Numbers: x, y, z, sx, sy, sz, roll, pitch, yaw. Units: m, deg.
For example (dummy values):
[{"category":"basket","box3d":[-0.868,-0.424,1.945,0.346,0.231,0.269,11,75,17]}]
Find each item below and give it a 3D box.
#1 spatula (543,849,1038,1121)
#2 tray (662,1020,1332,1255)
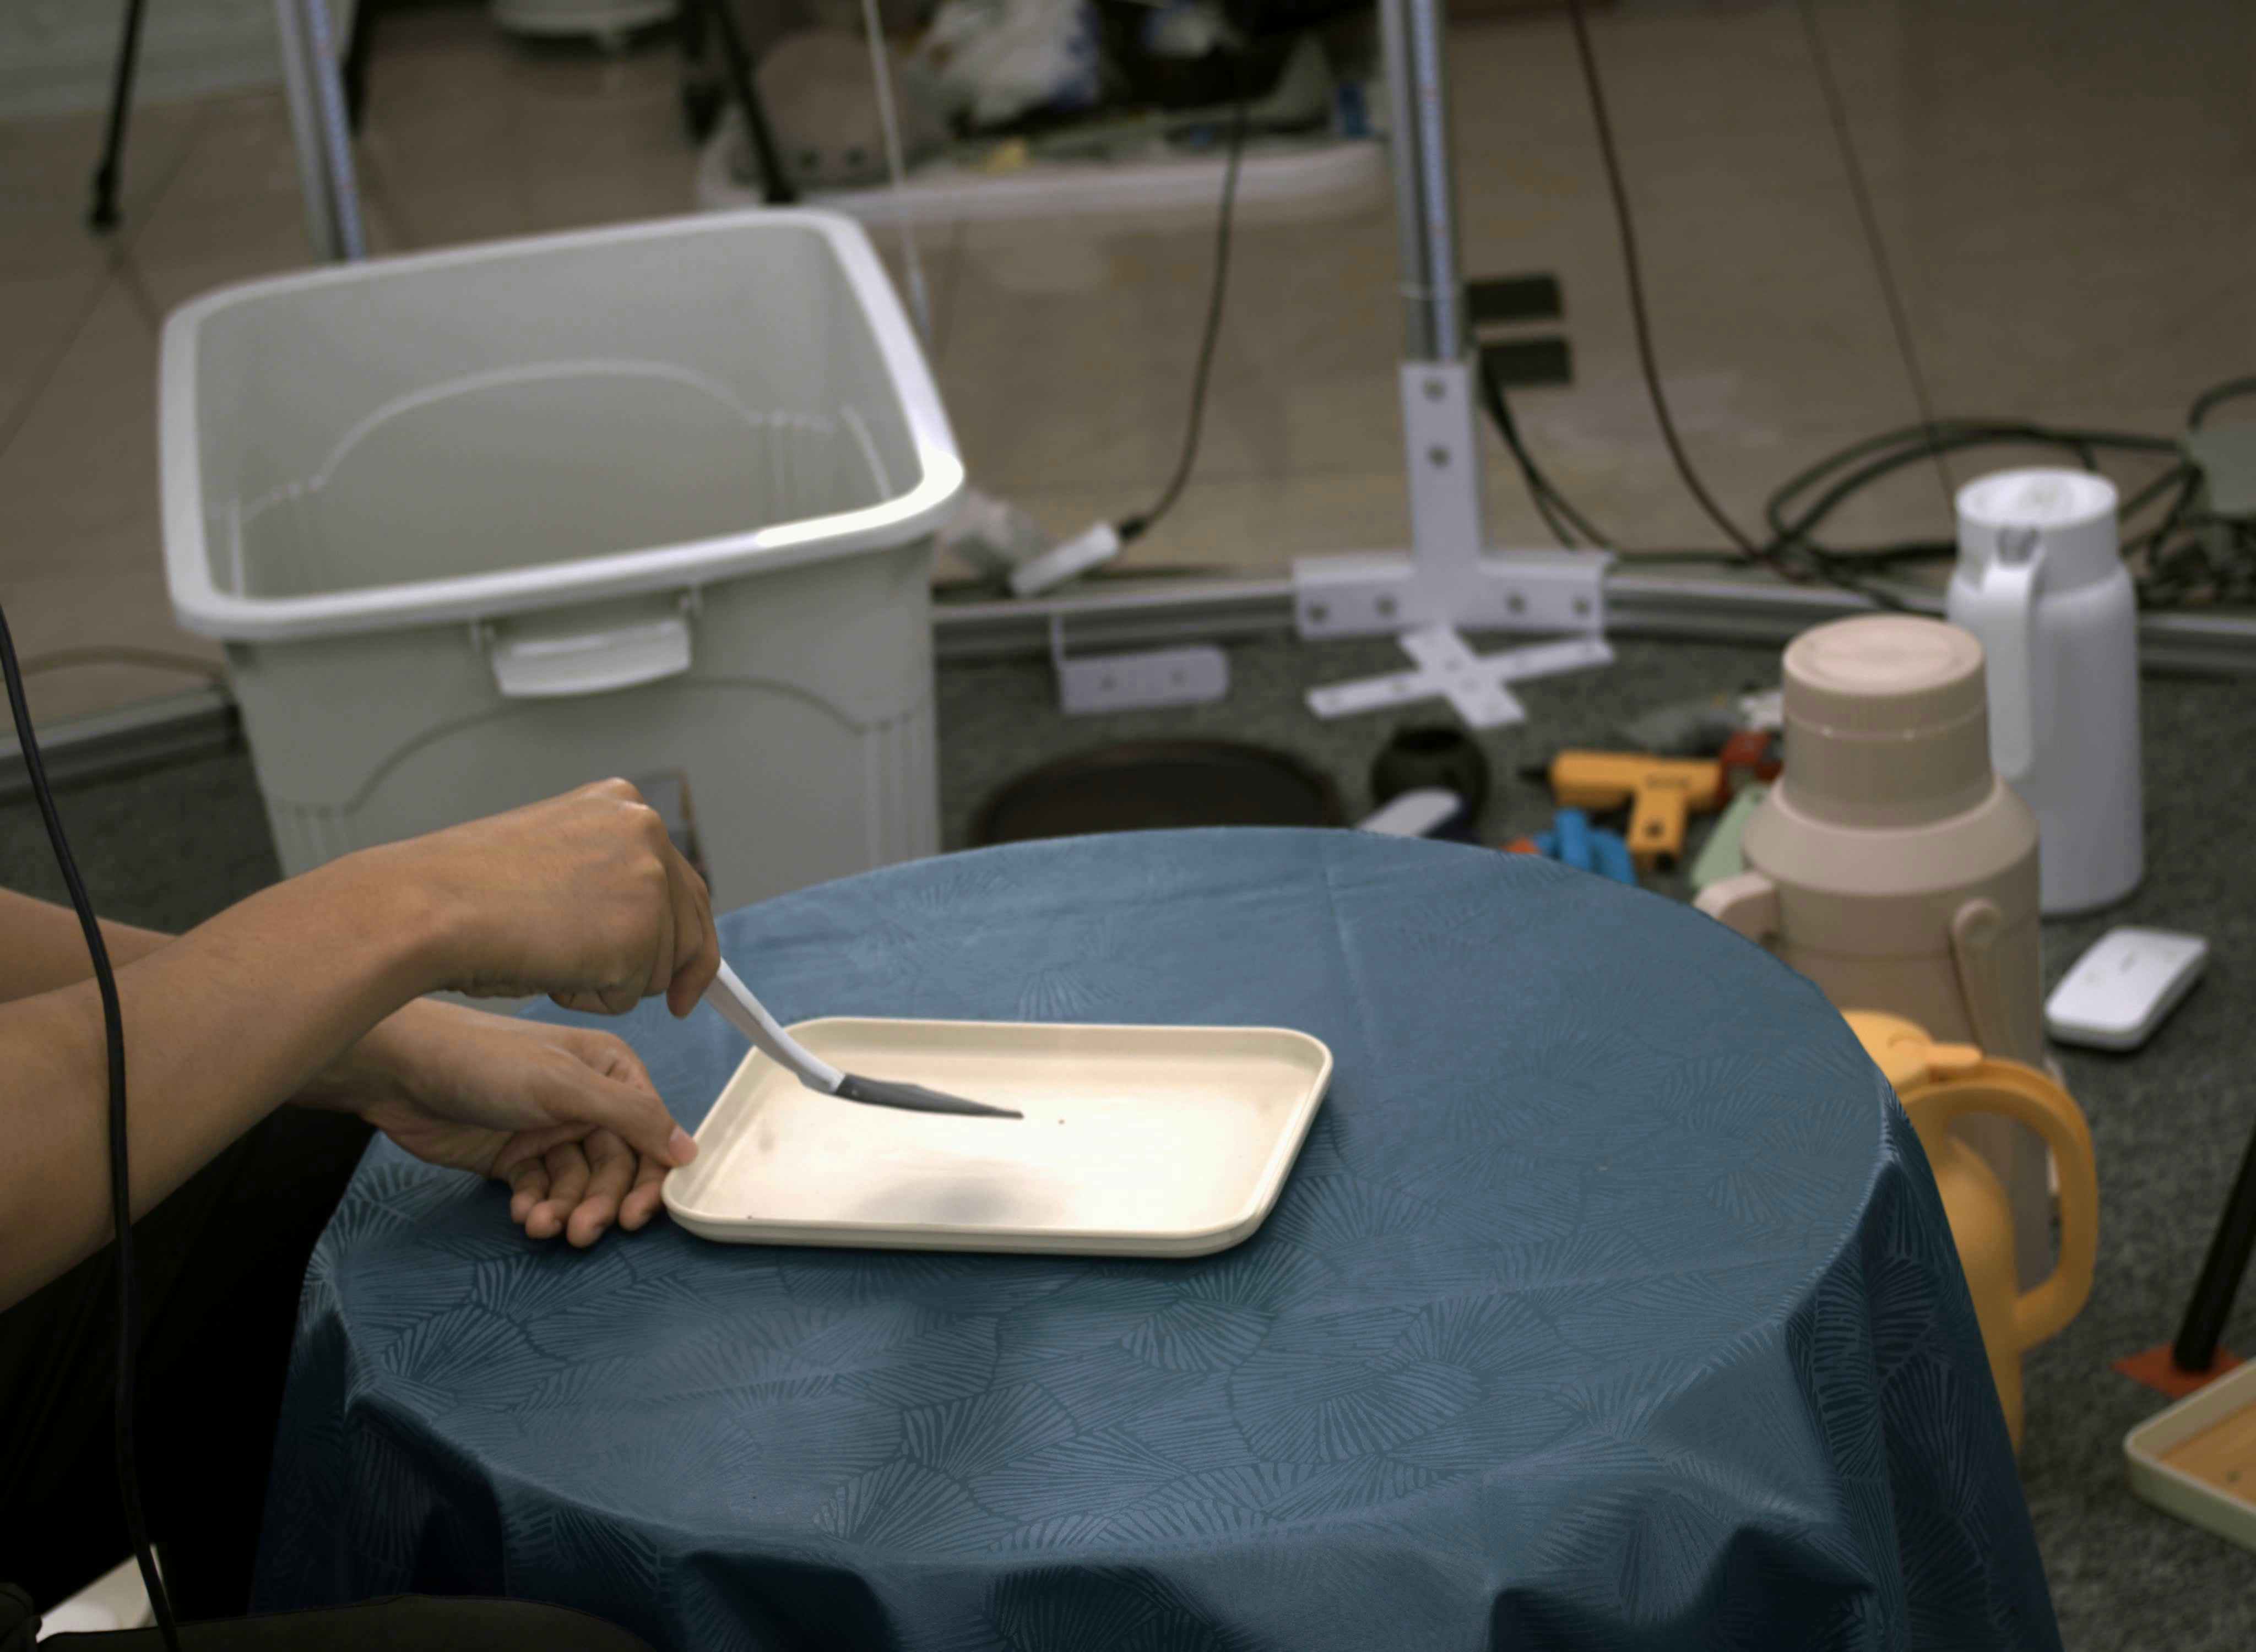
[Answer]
[{"category":"spatula","box3d":[-0.121,0.068,2.030,0.058,0.032,0.290,8,-14,30]},{"category":"tray","box3d":[-0.048,0.120,2.182,0.239,0.018,0.169,1,25,15]}]
